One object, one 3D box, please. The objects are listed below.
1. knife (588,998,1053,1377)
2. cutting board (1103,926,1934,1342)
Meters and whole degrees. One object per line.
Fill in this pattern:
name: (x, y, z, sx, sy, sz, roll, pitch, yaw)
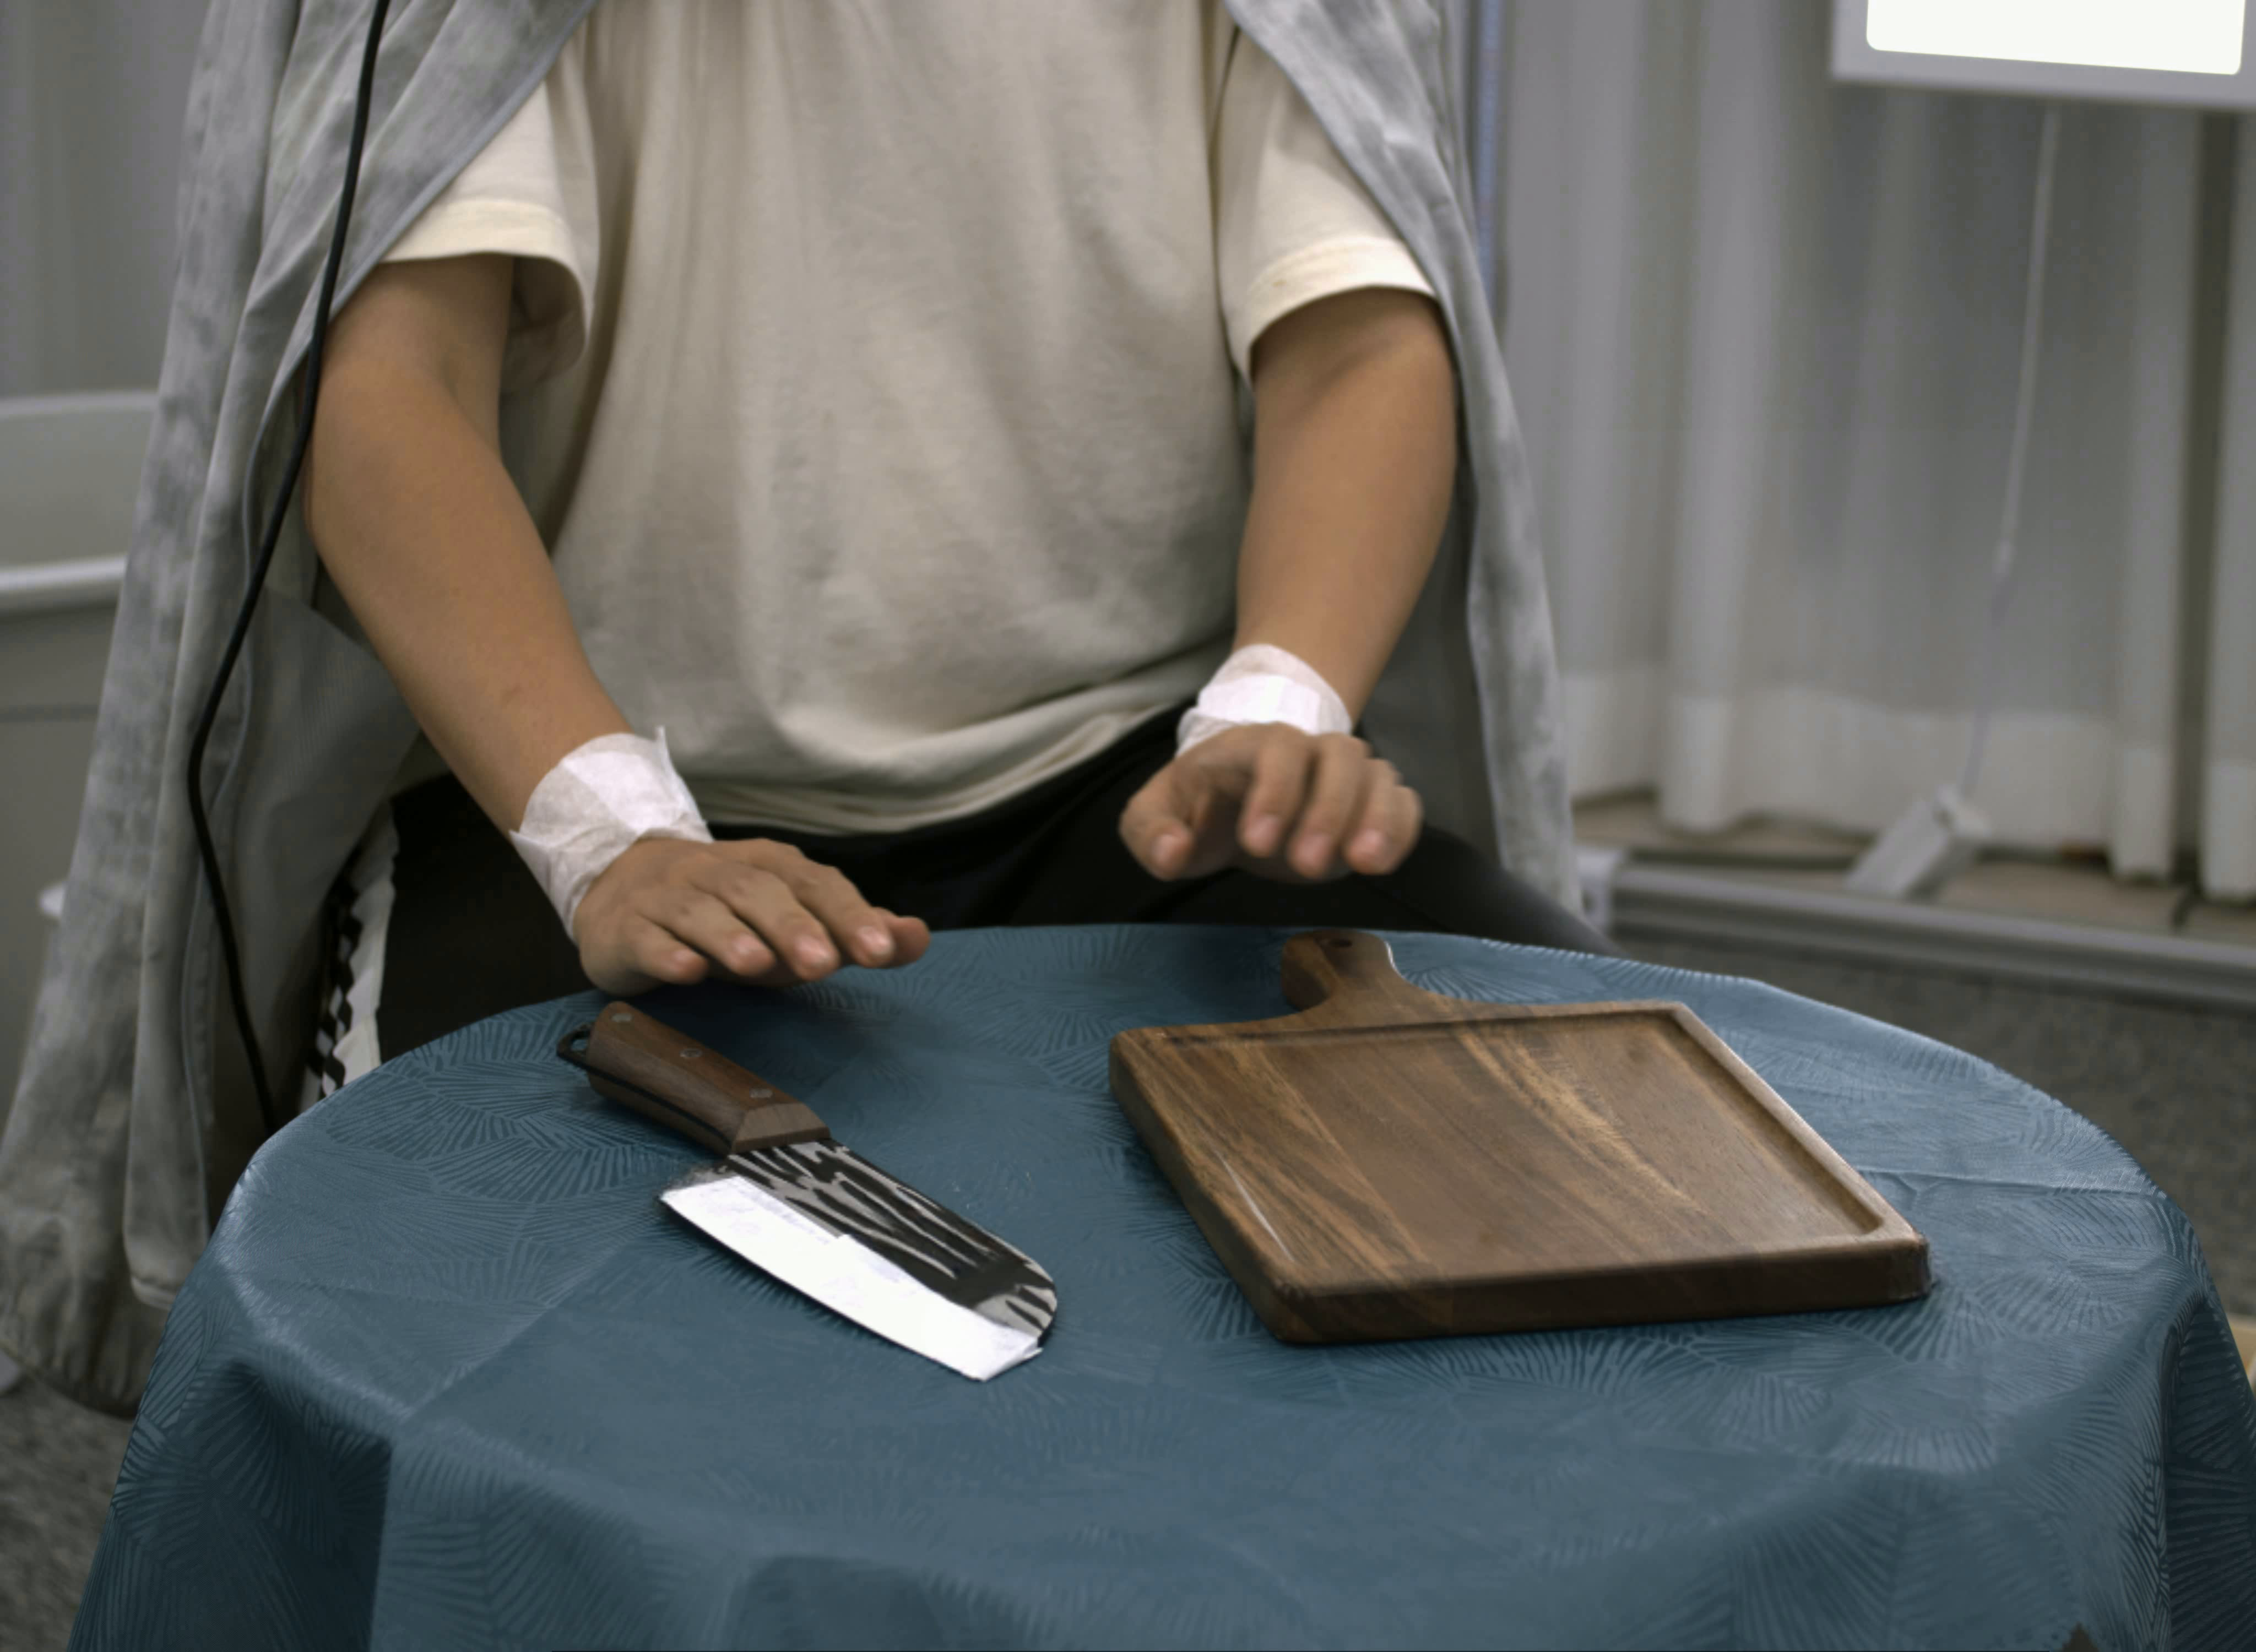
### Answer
knife: (-0.105, 0.109, 1.597, 0.068, 0.024, 0.295, -12, 22, -31)
cutting board: (0.104, 0.089, 1.674, 0.201, 0.023, 0.349, -3, 15, -12)
